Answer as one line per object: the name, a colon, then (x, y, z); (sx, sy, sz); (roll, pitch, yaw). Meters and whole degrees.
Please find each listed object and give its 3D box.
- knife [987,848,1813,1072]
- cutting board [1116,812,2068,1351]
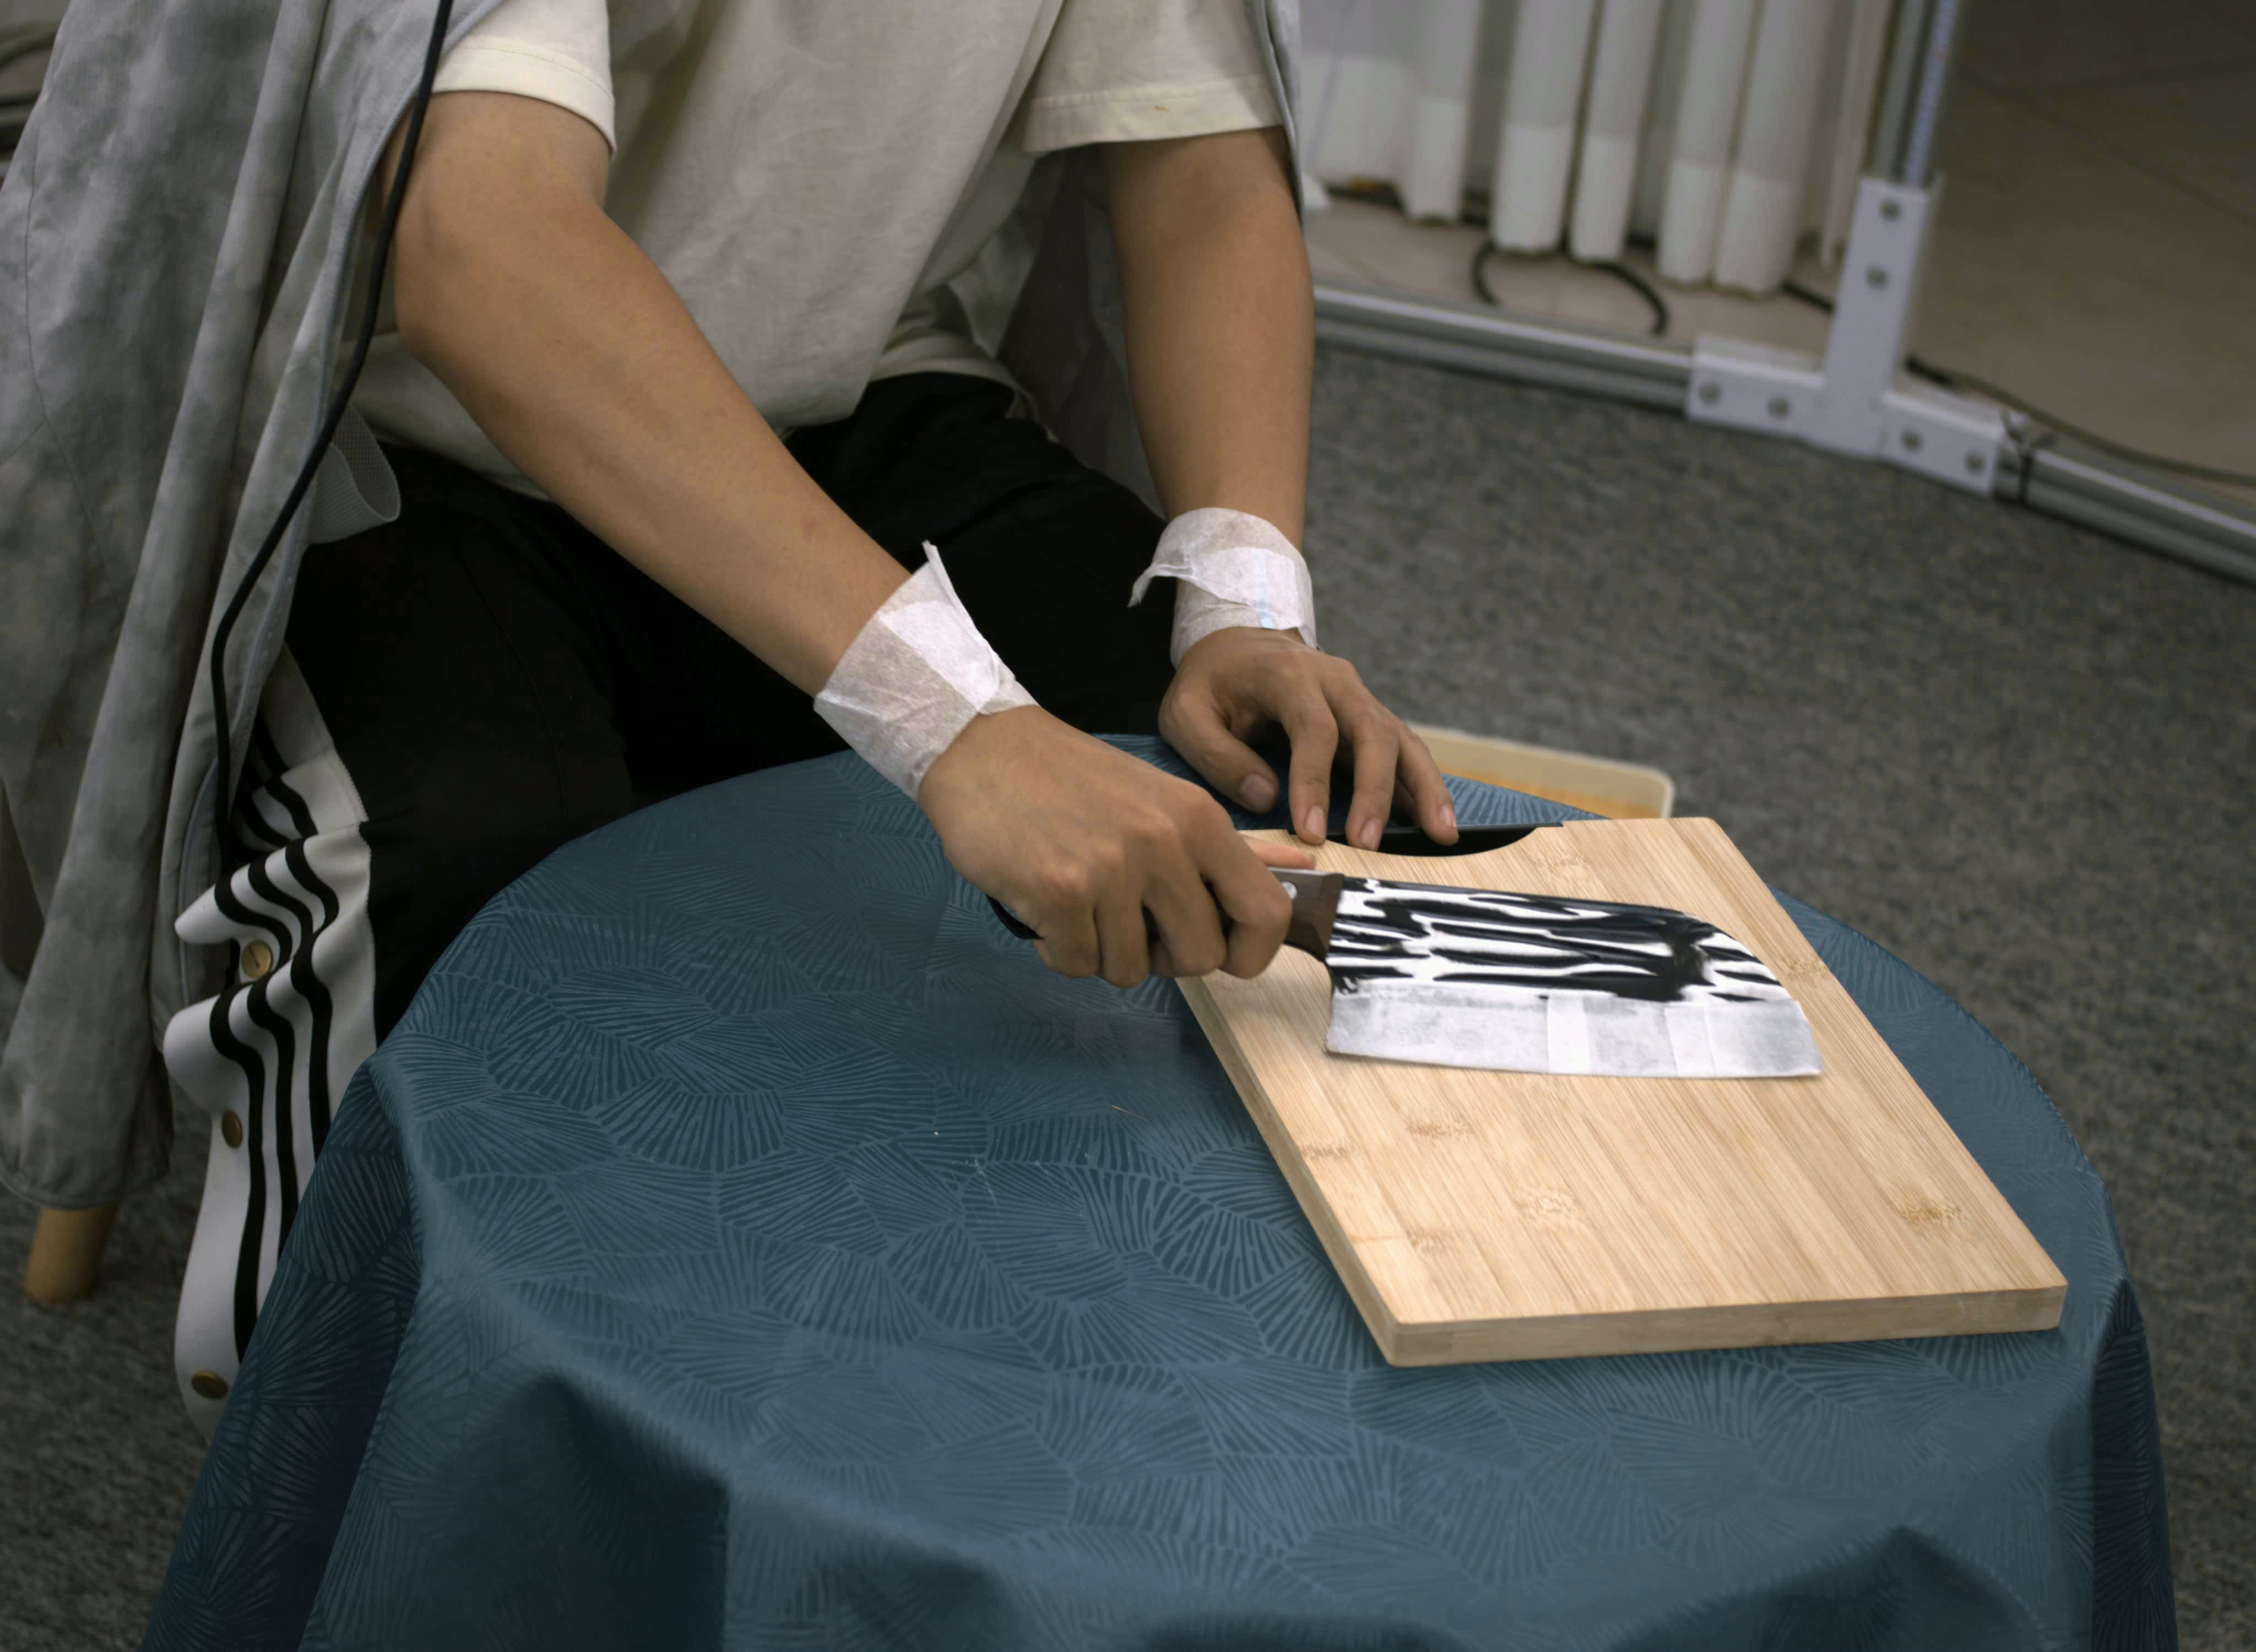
knife: (0.097, 0.049, 1.879); (0.298, 0.024, 0.068); (6, 67, -7)
cutting board: (0.155, 0.085, 1.899); (0.249, 0.023, 0.351); (-2, 28, -17)
